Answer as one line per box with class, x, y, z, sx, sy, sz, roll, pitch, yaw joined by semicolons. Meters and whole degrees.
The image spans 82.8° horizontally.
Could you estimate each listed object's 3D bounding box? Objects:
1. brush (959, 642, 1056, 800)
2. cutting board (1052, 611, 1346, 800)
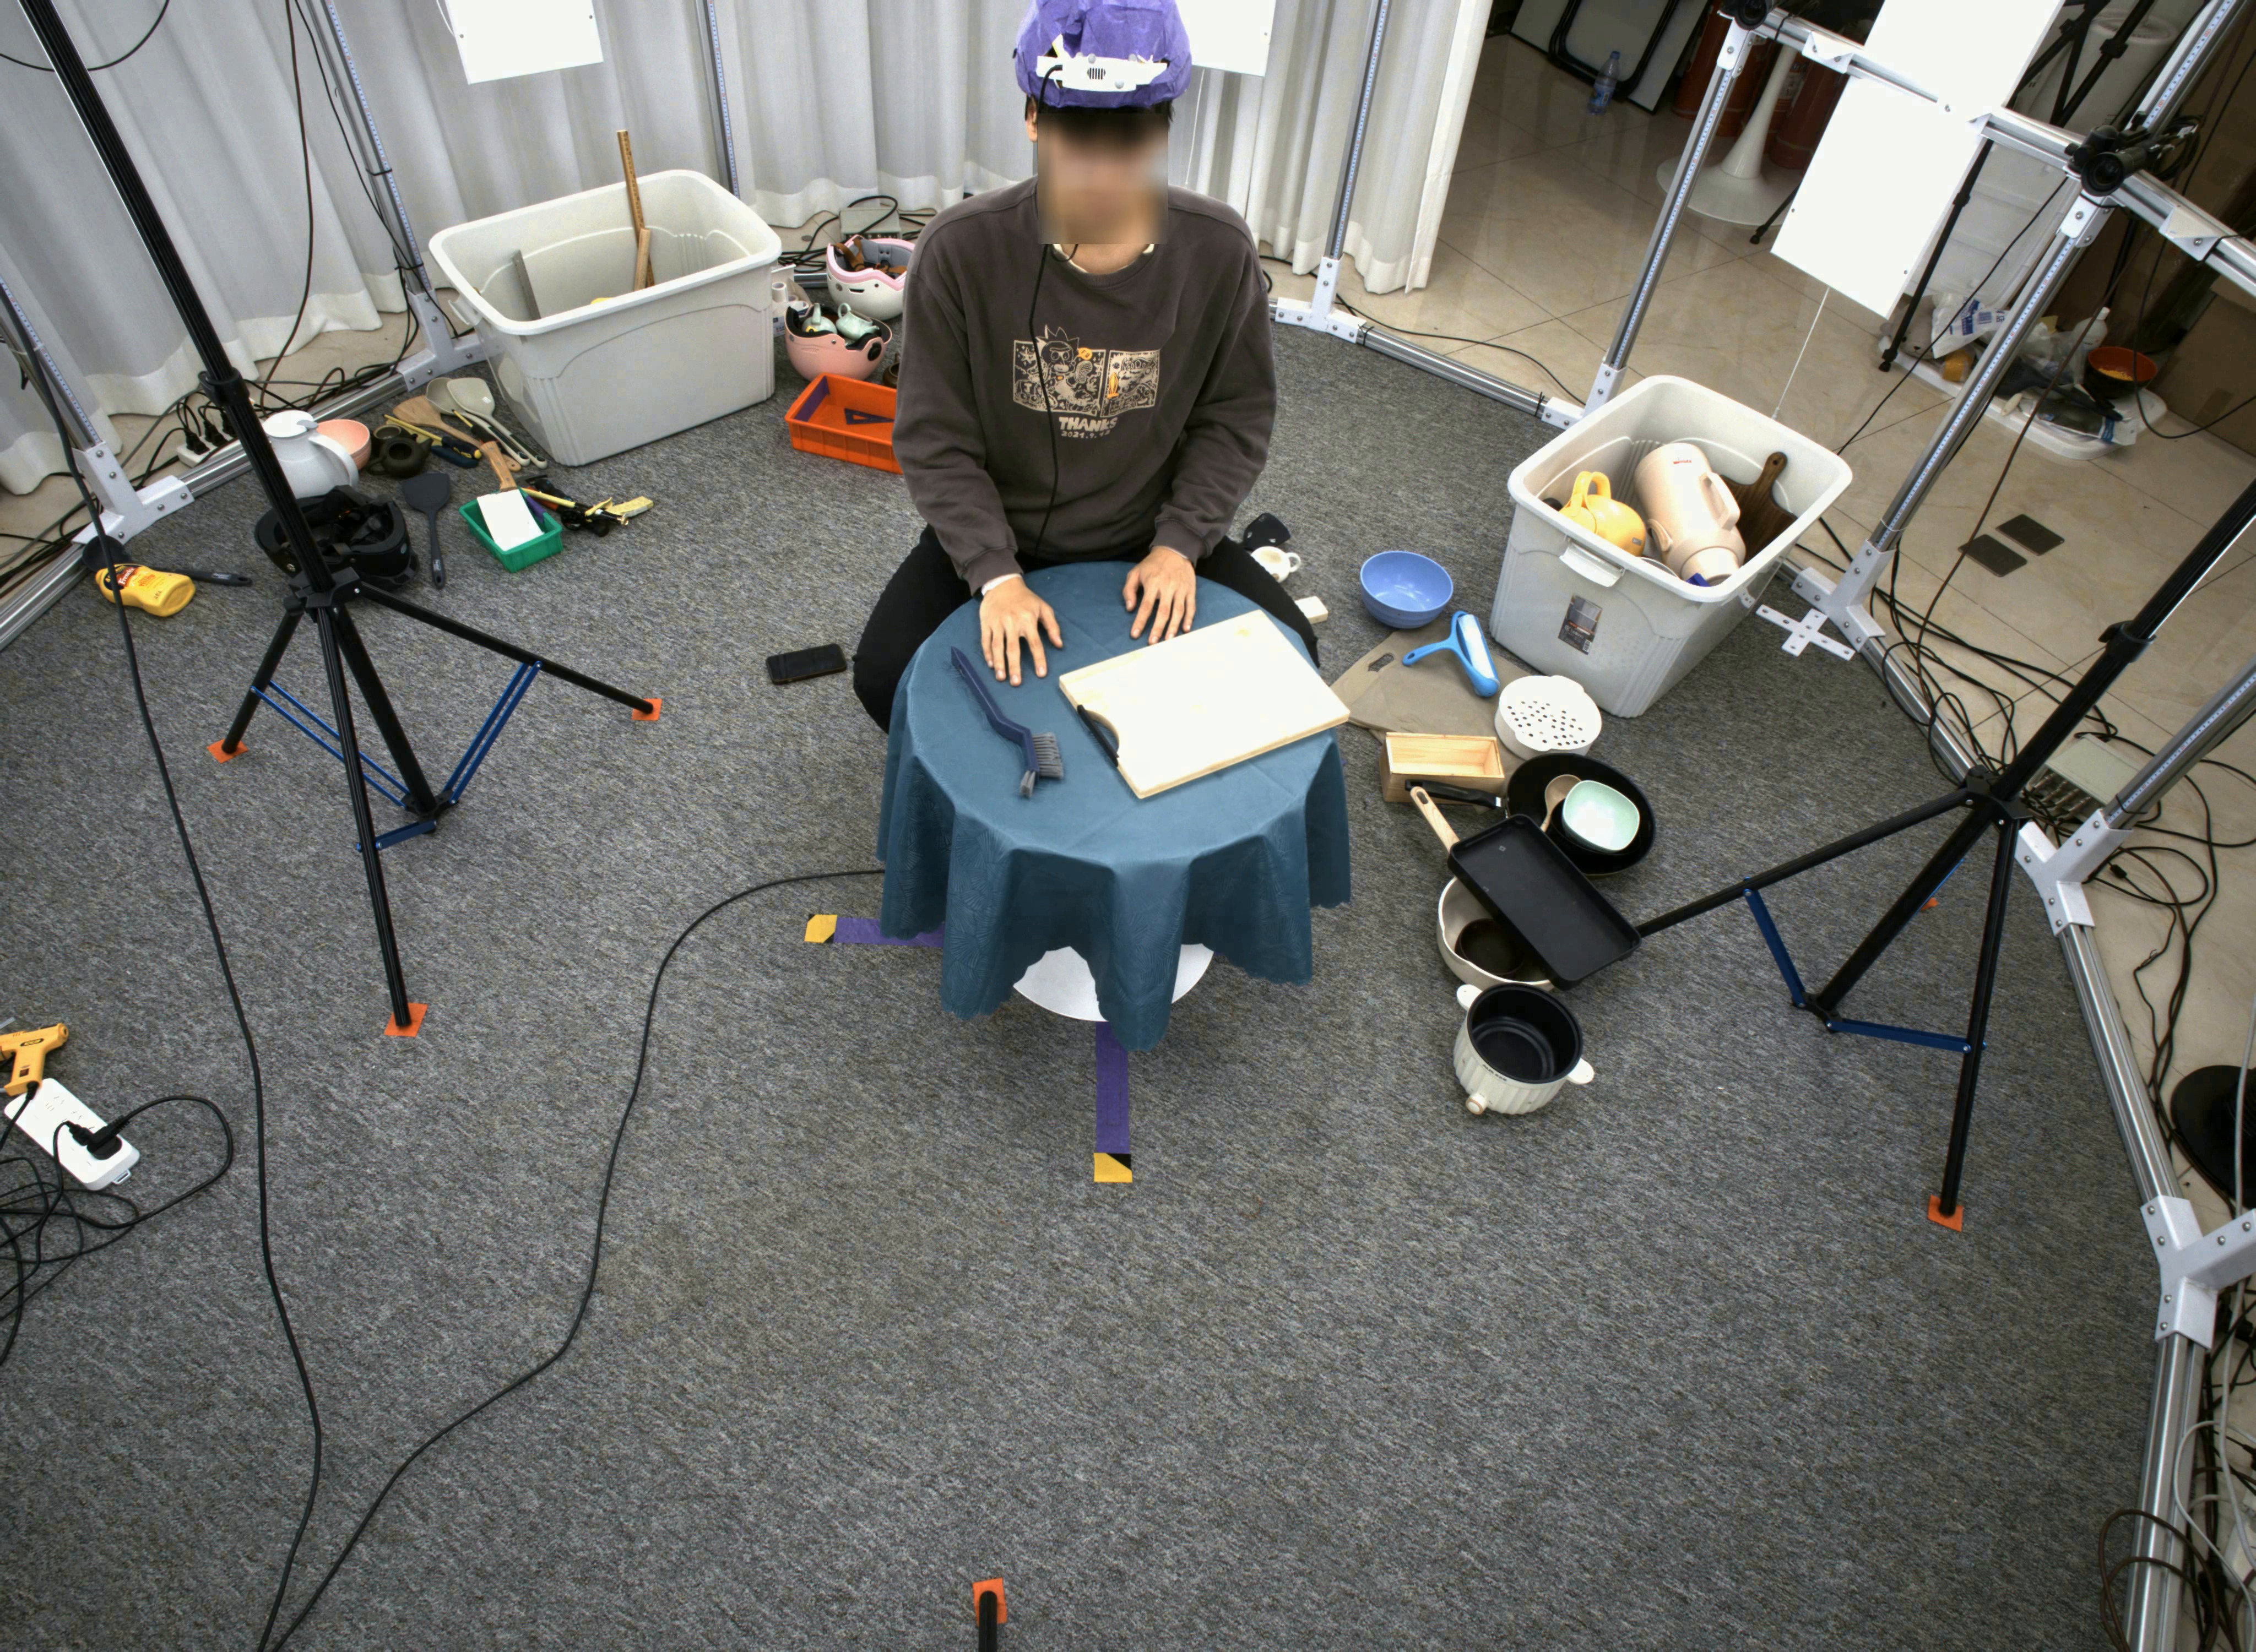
brush;-0.185;-0.150;1.764;0.096;0.033;0.278;-27;57;-24
cutting board;0.102;-0.178;1.816;0.349;0.023;0.256;-21;53;-21
